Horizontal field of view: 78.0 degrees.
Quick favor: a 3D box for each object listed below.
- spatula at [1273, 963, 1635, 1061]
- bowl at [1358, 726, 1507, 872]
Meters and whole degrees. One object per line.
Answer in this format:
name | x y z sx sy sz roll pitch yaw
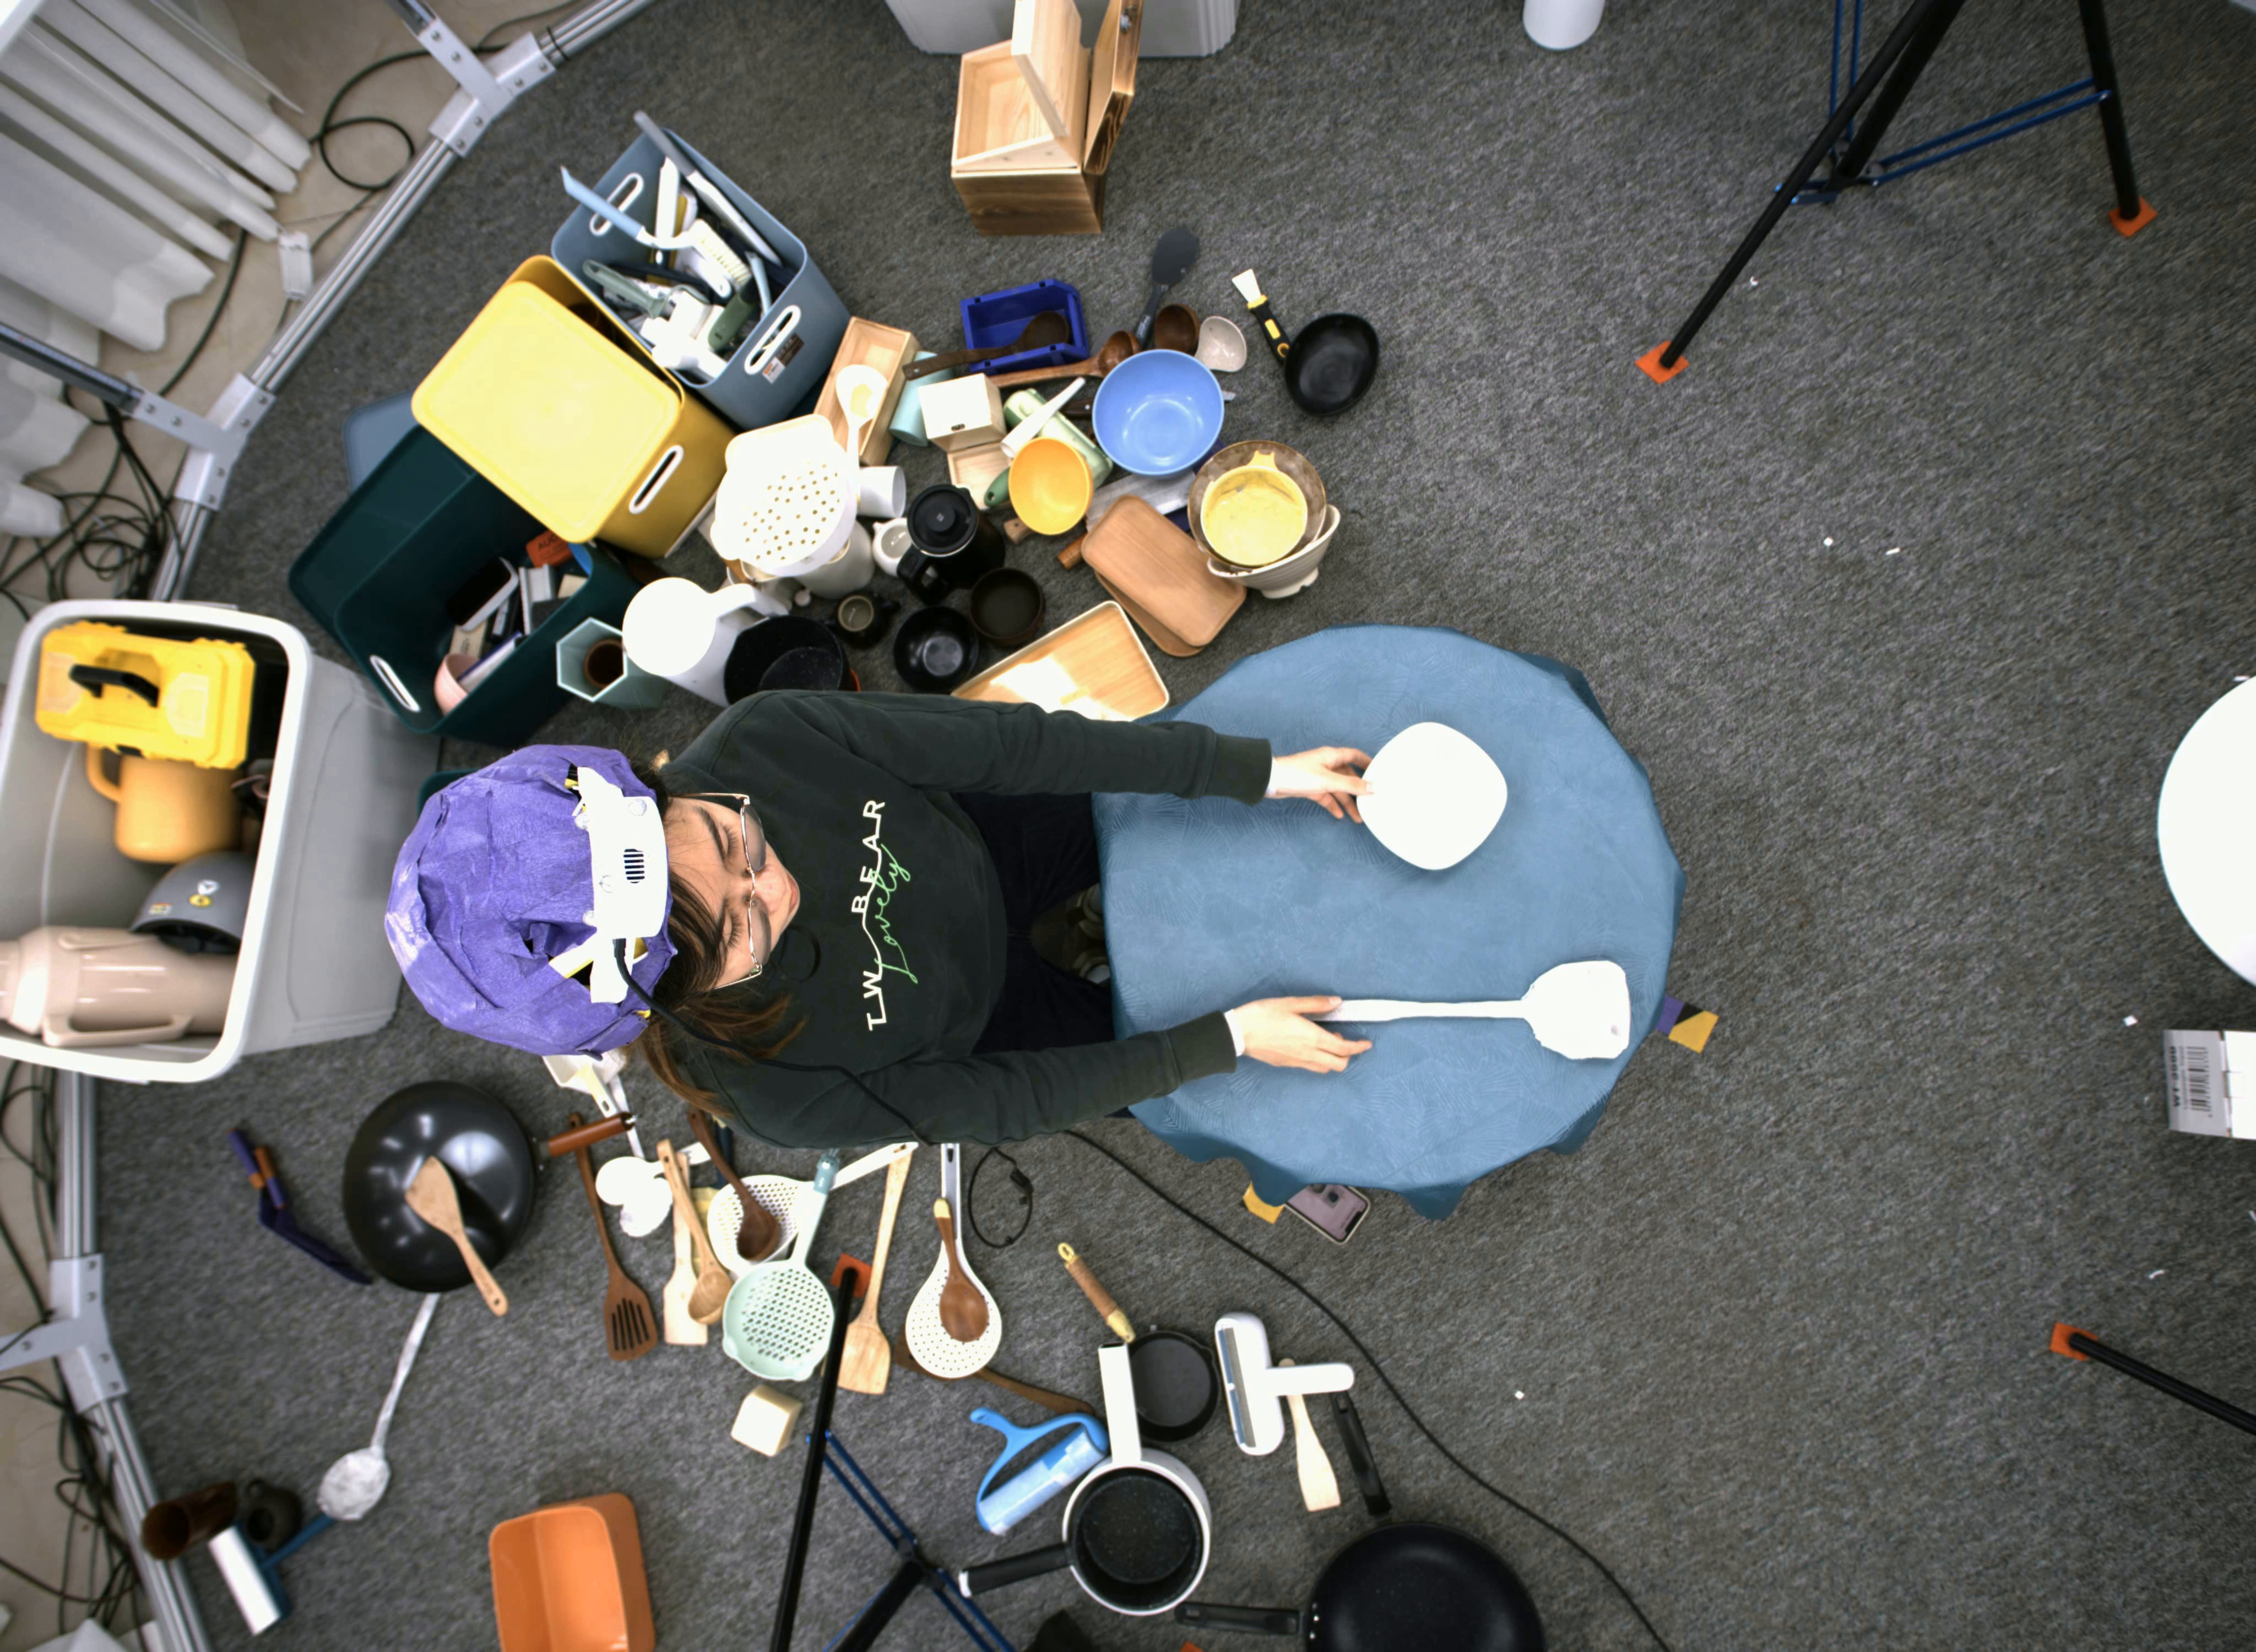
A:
spatula | 0.331 0.187 1.426 0.366 0.045 0.098 0 87 10
bowl | 0.315 -0.026 1.435 0.152 0.059 0.150 -1 85 8
